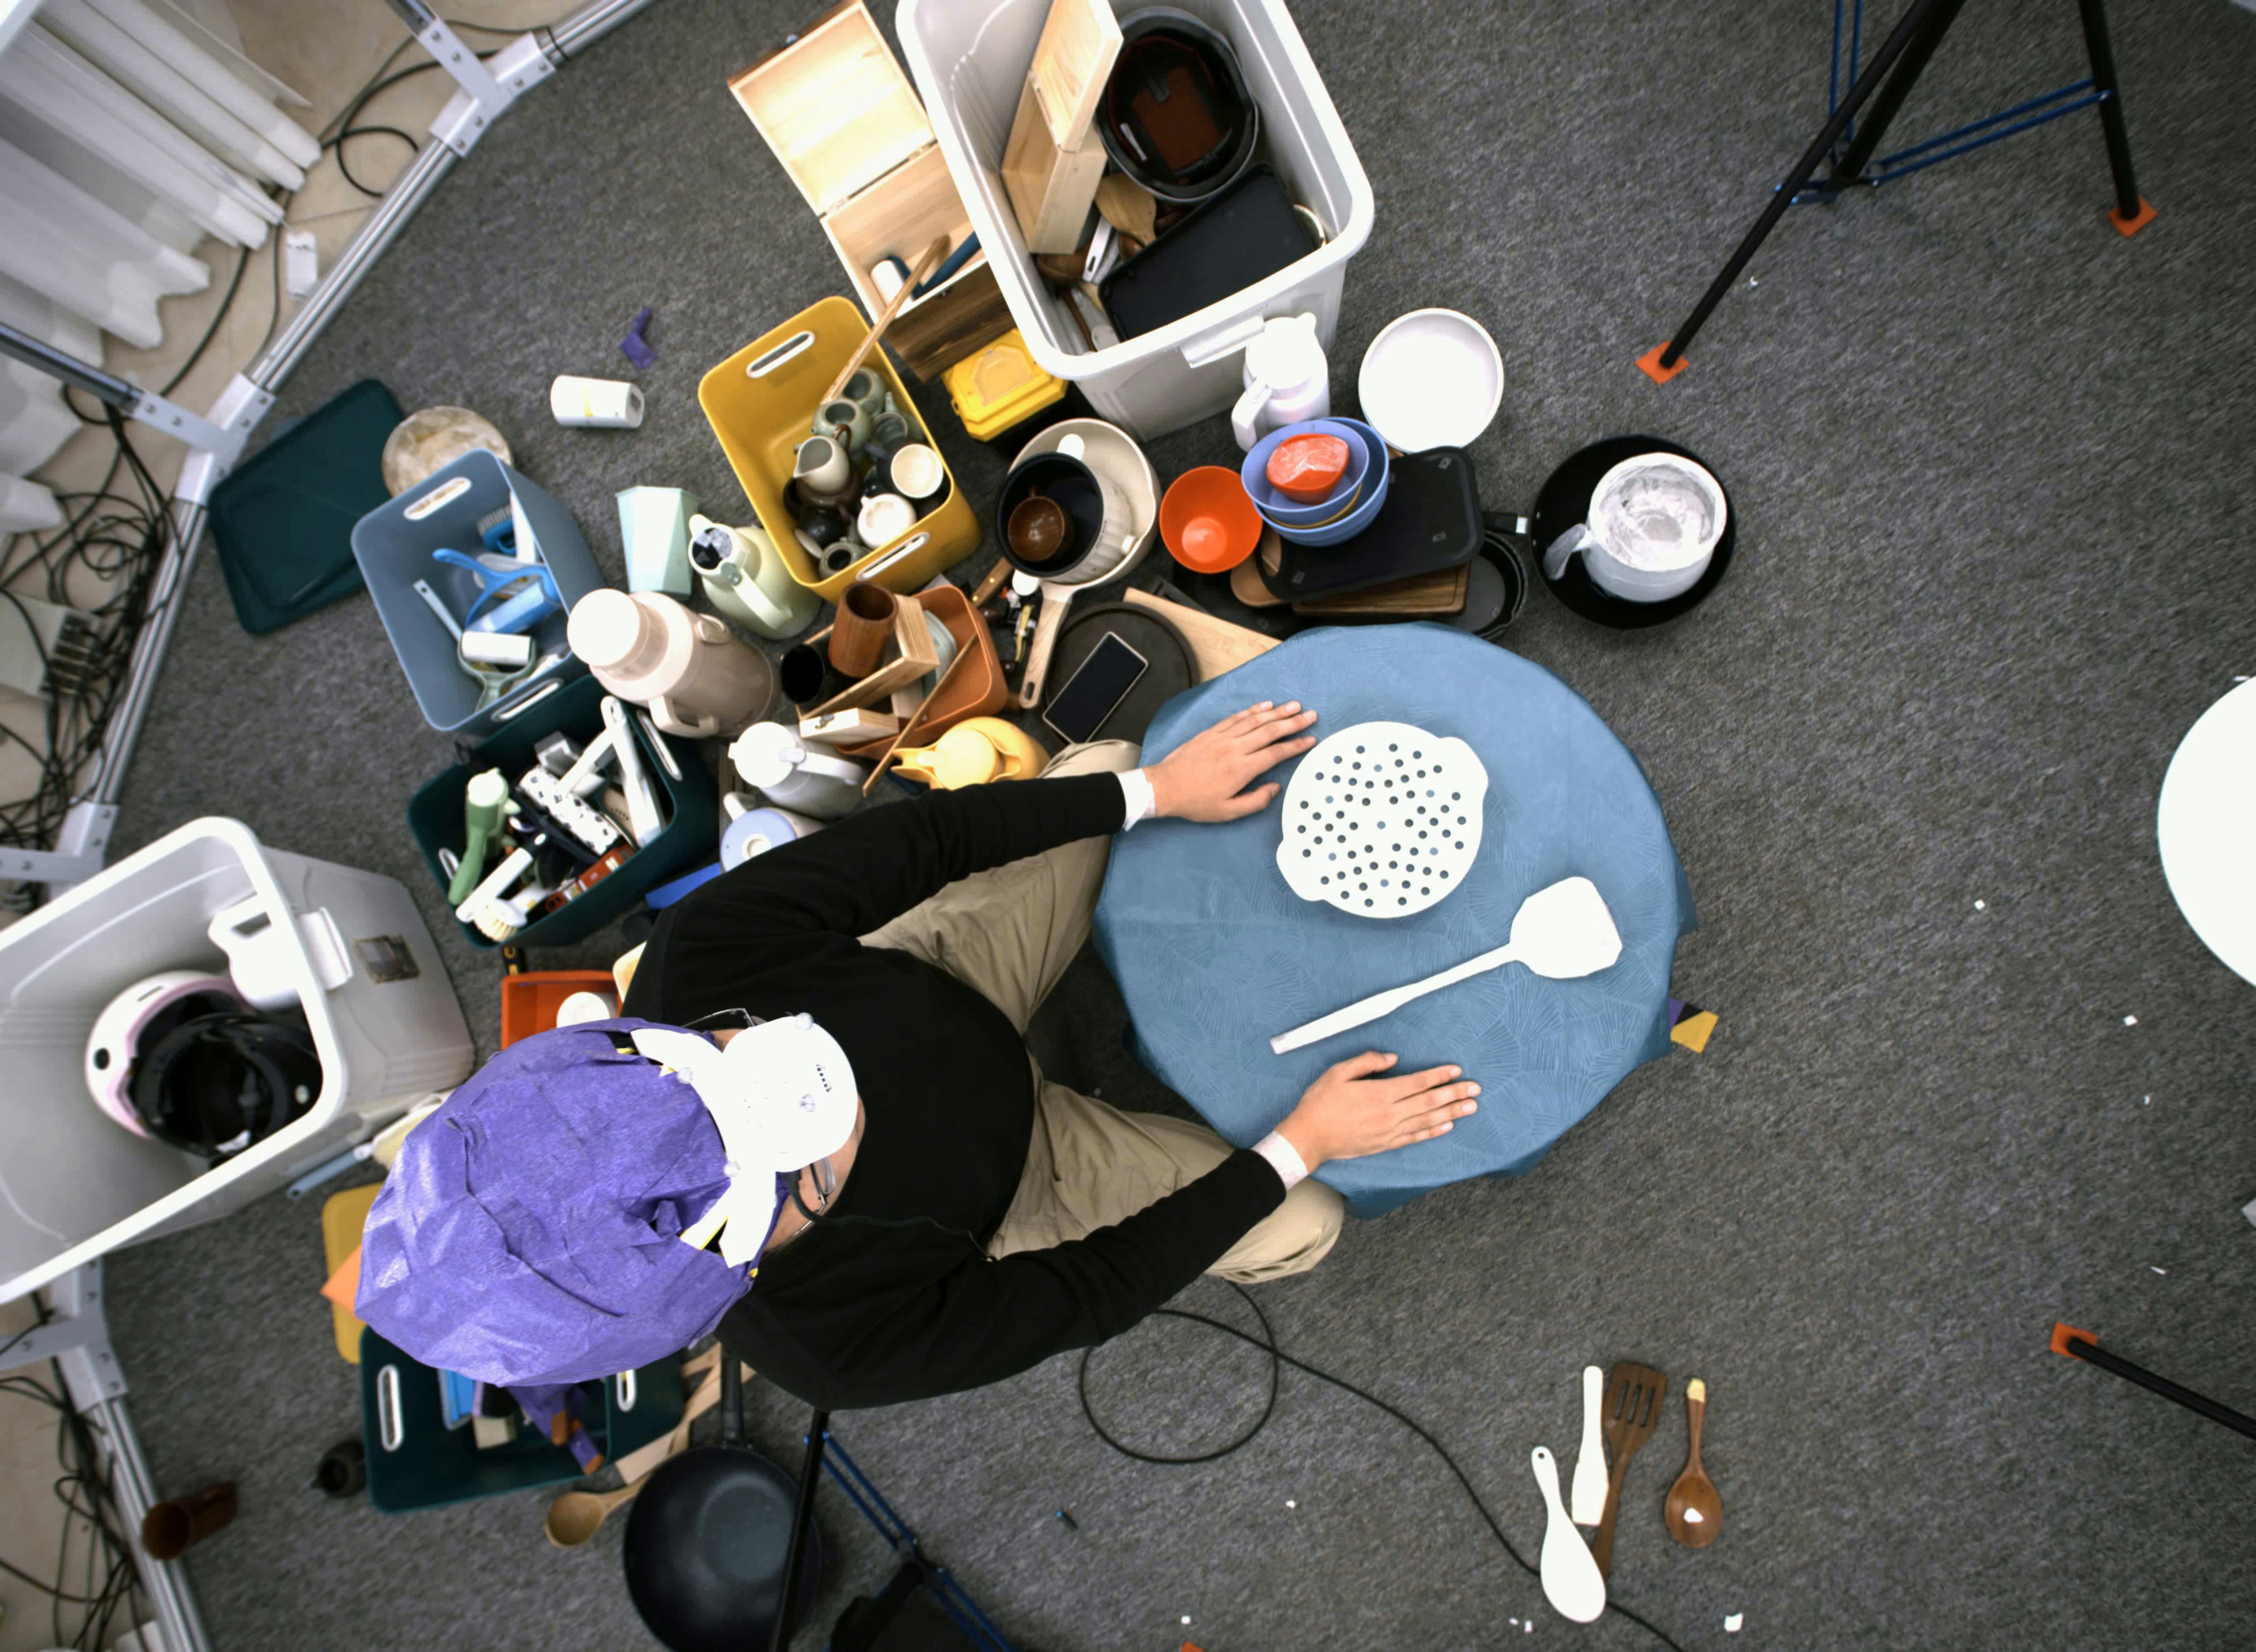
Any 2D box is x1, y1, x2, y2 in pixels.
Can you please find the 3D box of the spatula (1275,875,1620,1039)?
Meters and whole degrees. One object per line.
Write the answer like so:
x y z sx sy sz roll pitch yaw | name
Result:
0.324 0.154 1.426 0.367 0.045 0.098 -22 85 9 | spatula

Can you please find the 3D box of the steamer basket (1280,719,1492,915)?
0.267 -0.008 1.430 0.232 0.069 0.200 -33 81 8 | steamer basket
